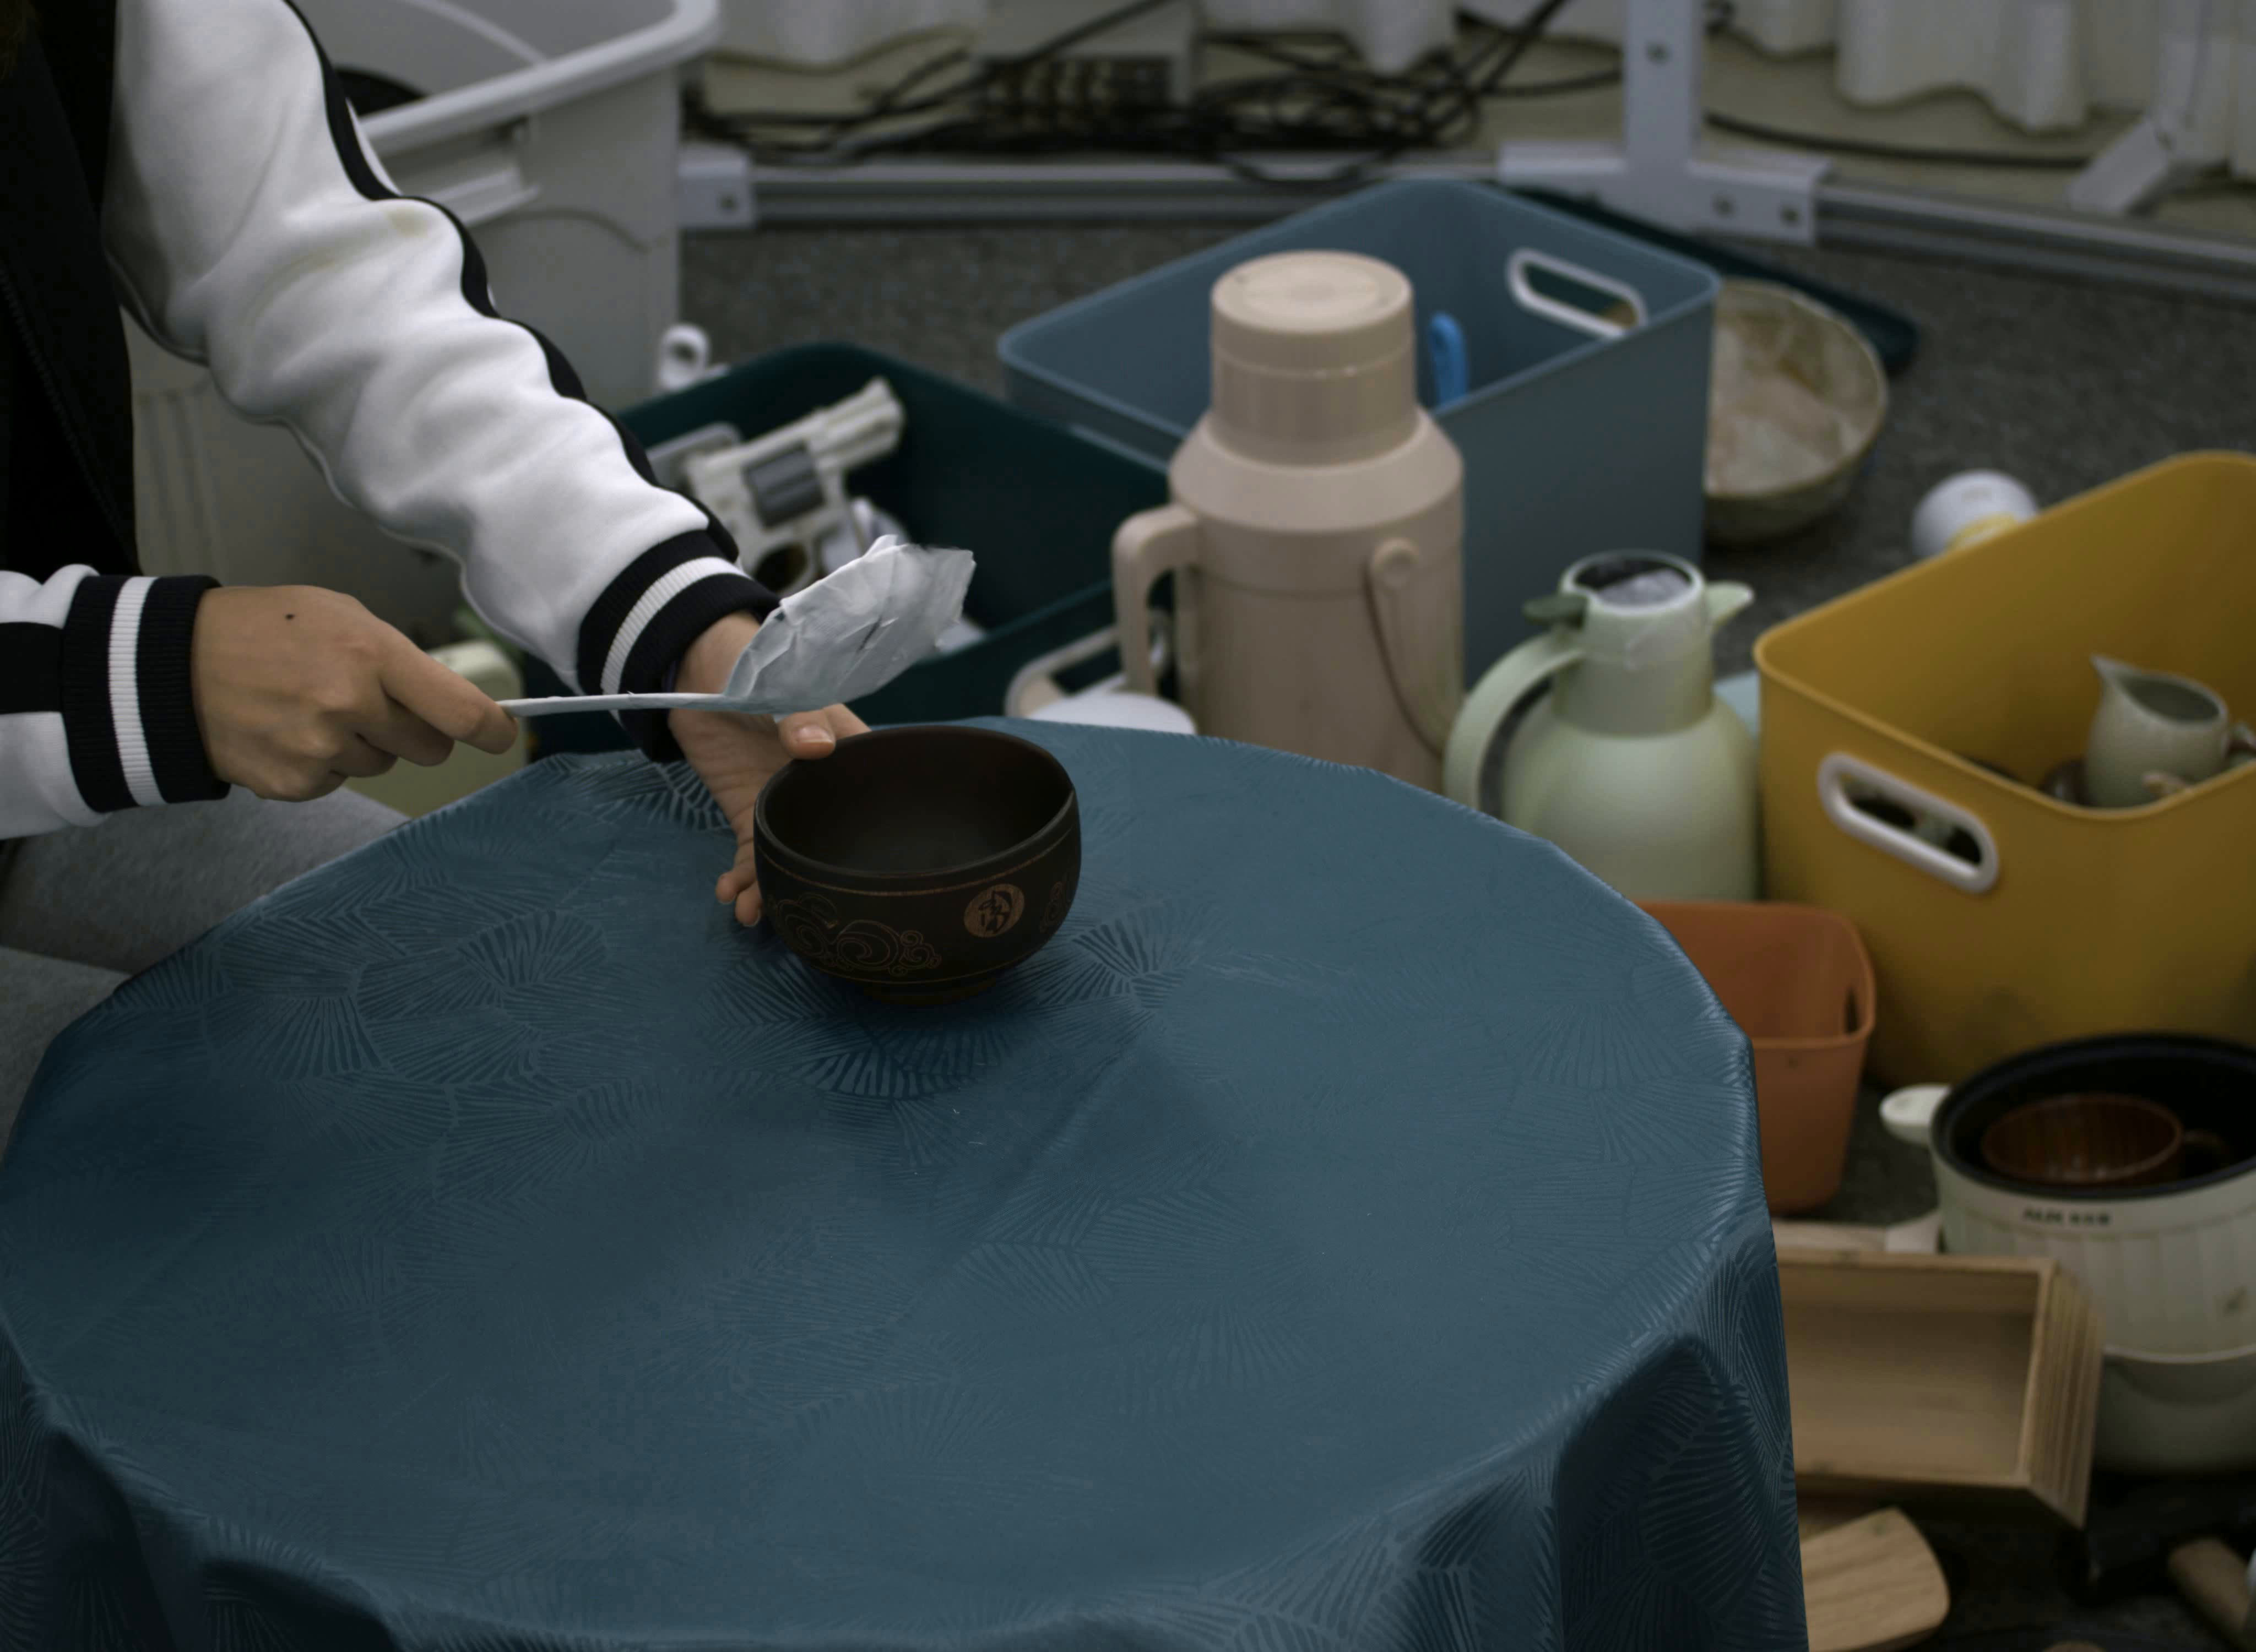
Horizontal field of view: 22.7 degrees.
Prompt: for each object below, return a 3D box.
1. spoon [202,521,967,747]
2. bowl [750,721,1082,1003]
[{"bbox_3d":[-0.187,-0.063,1.925,0.275,0.060,0.100,-4,-19,17],"label":"spoon"},{"bbox_3d":[-0.074,0.019,1.988,0.117,0.069,0.120,-2,27,1],"label":"bowl"}]
